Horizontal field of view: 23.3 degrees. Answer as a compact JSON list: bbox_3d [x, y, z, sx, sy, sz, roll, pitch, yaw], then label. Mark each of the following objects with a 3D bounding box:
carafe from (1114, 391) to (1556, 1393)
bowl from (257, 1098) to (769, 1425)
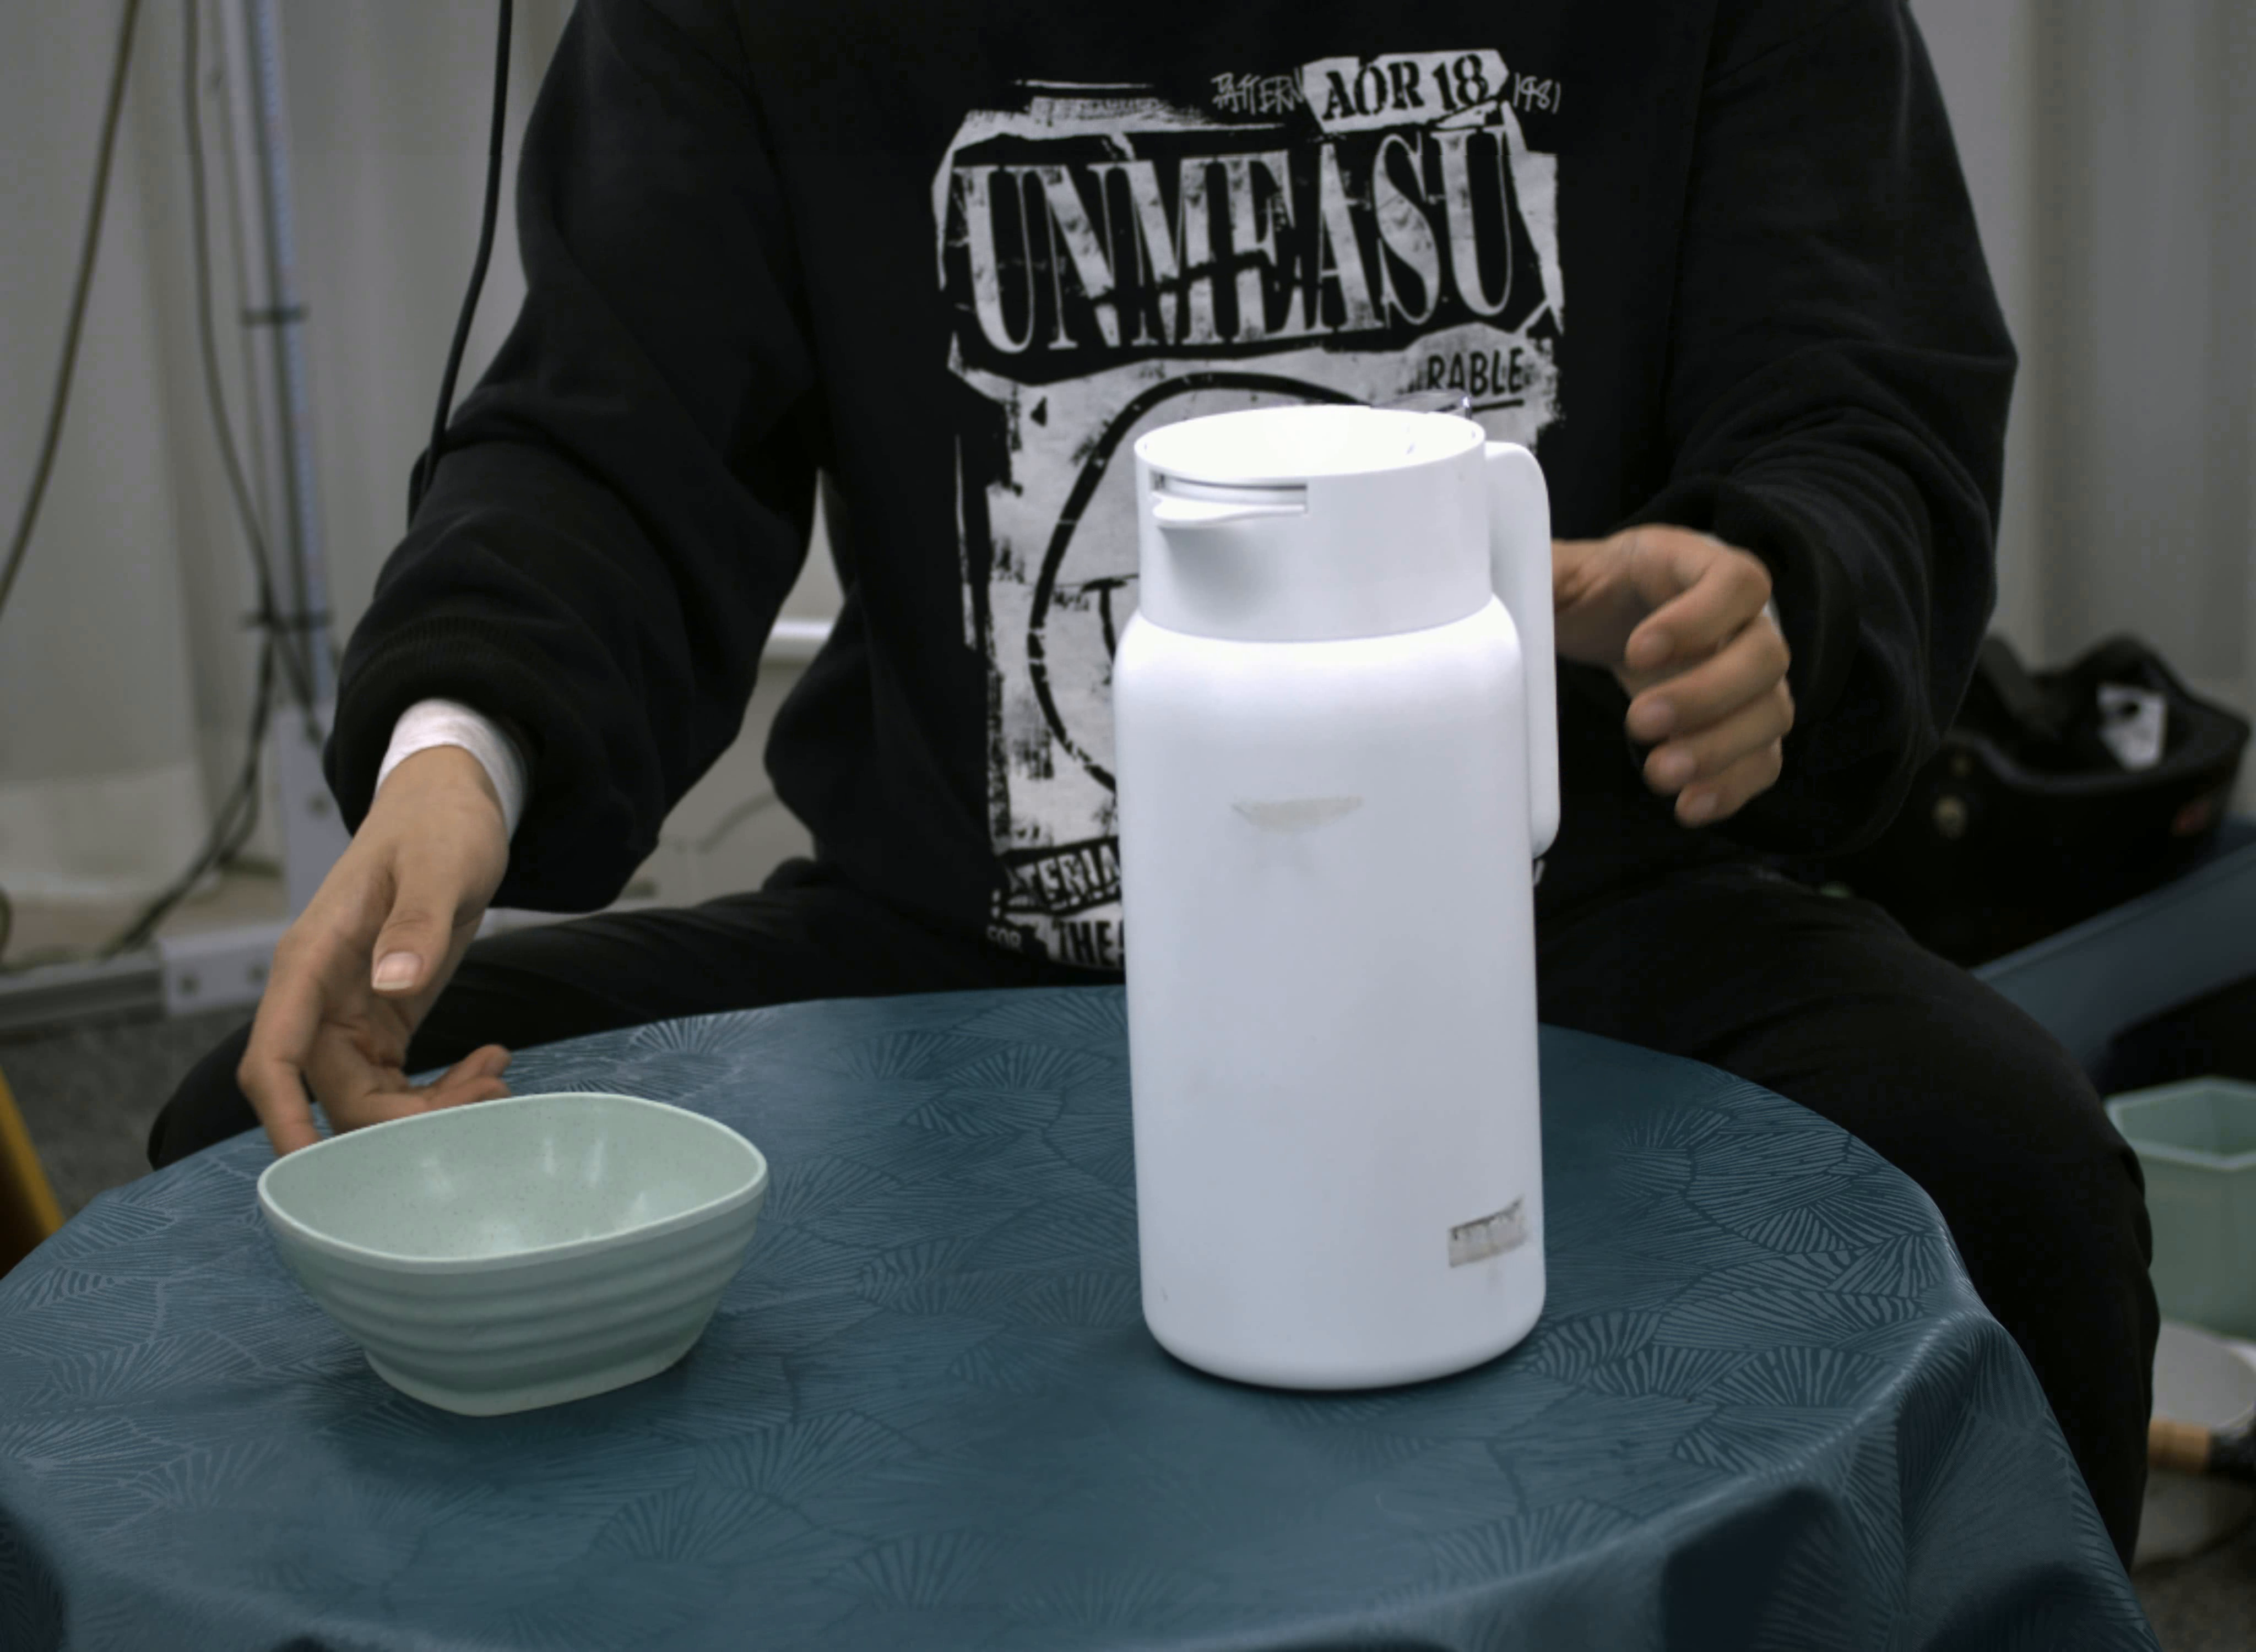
[{"bbox_3d":[0.066,0.014,1.565,0.124,0.268,0.173,4,15,35],"label":"carafe"},{"bbox_3d":[-0.177,0.130,1.590,0.151,0.058,0.152,-2,15,0],"label":"bowl"}]
